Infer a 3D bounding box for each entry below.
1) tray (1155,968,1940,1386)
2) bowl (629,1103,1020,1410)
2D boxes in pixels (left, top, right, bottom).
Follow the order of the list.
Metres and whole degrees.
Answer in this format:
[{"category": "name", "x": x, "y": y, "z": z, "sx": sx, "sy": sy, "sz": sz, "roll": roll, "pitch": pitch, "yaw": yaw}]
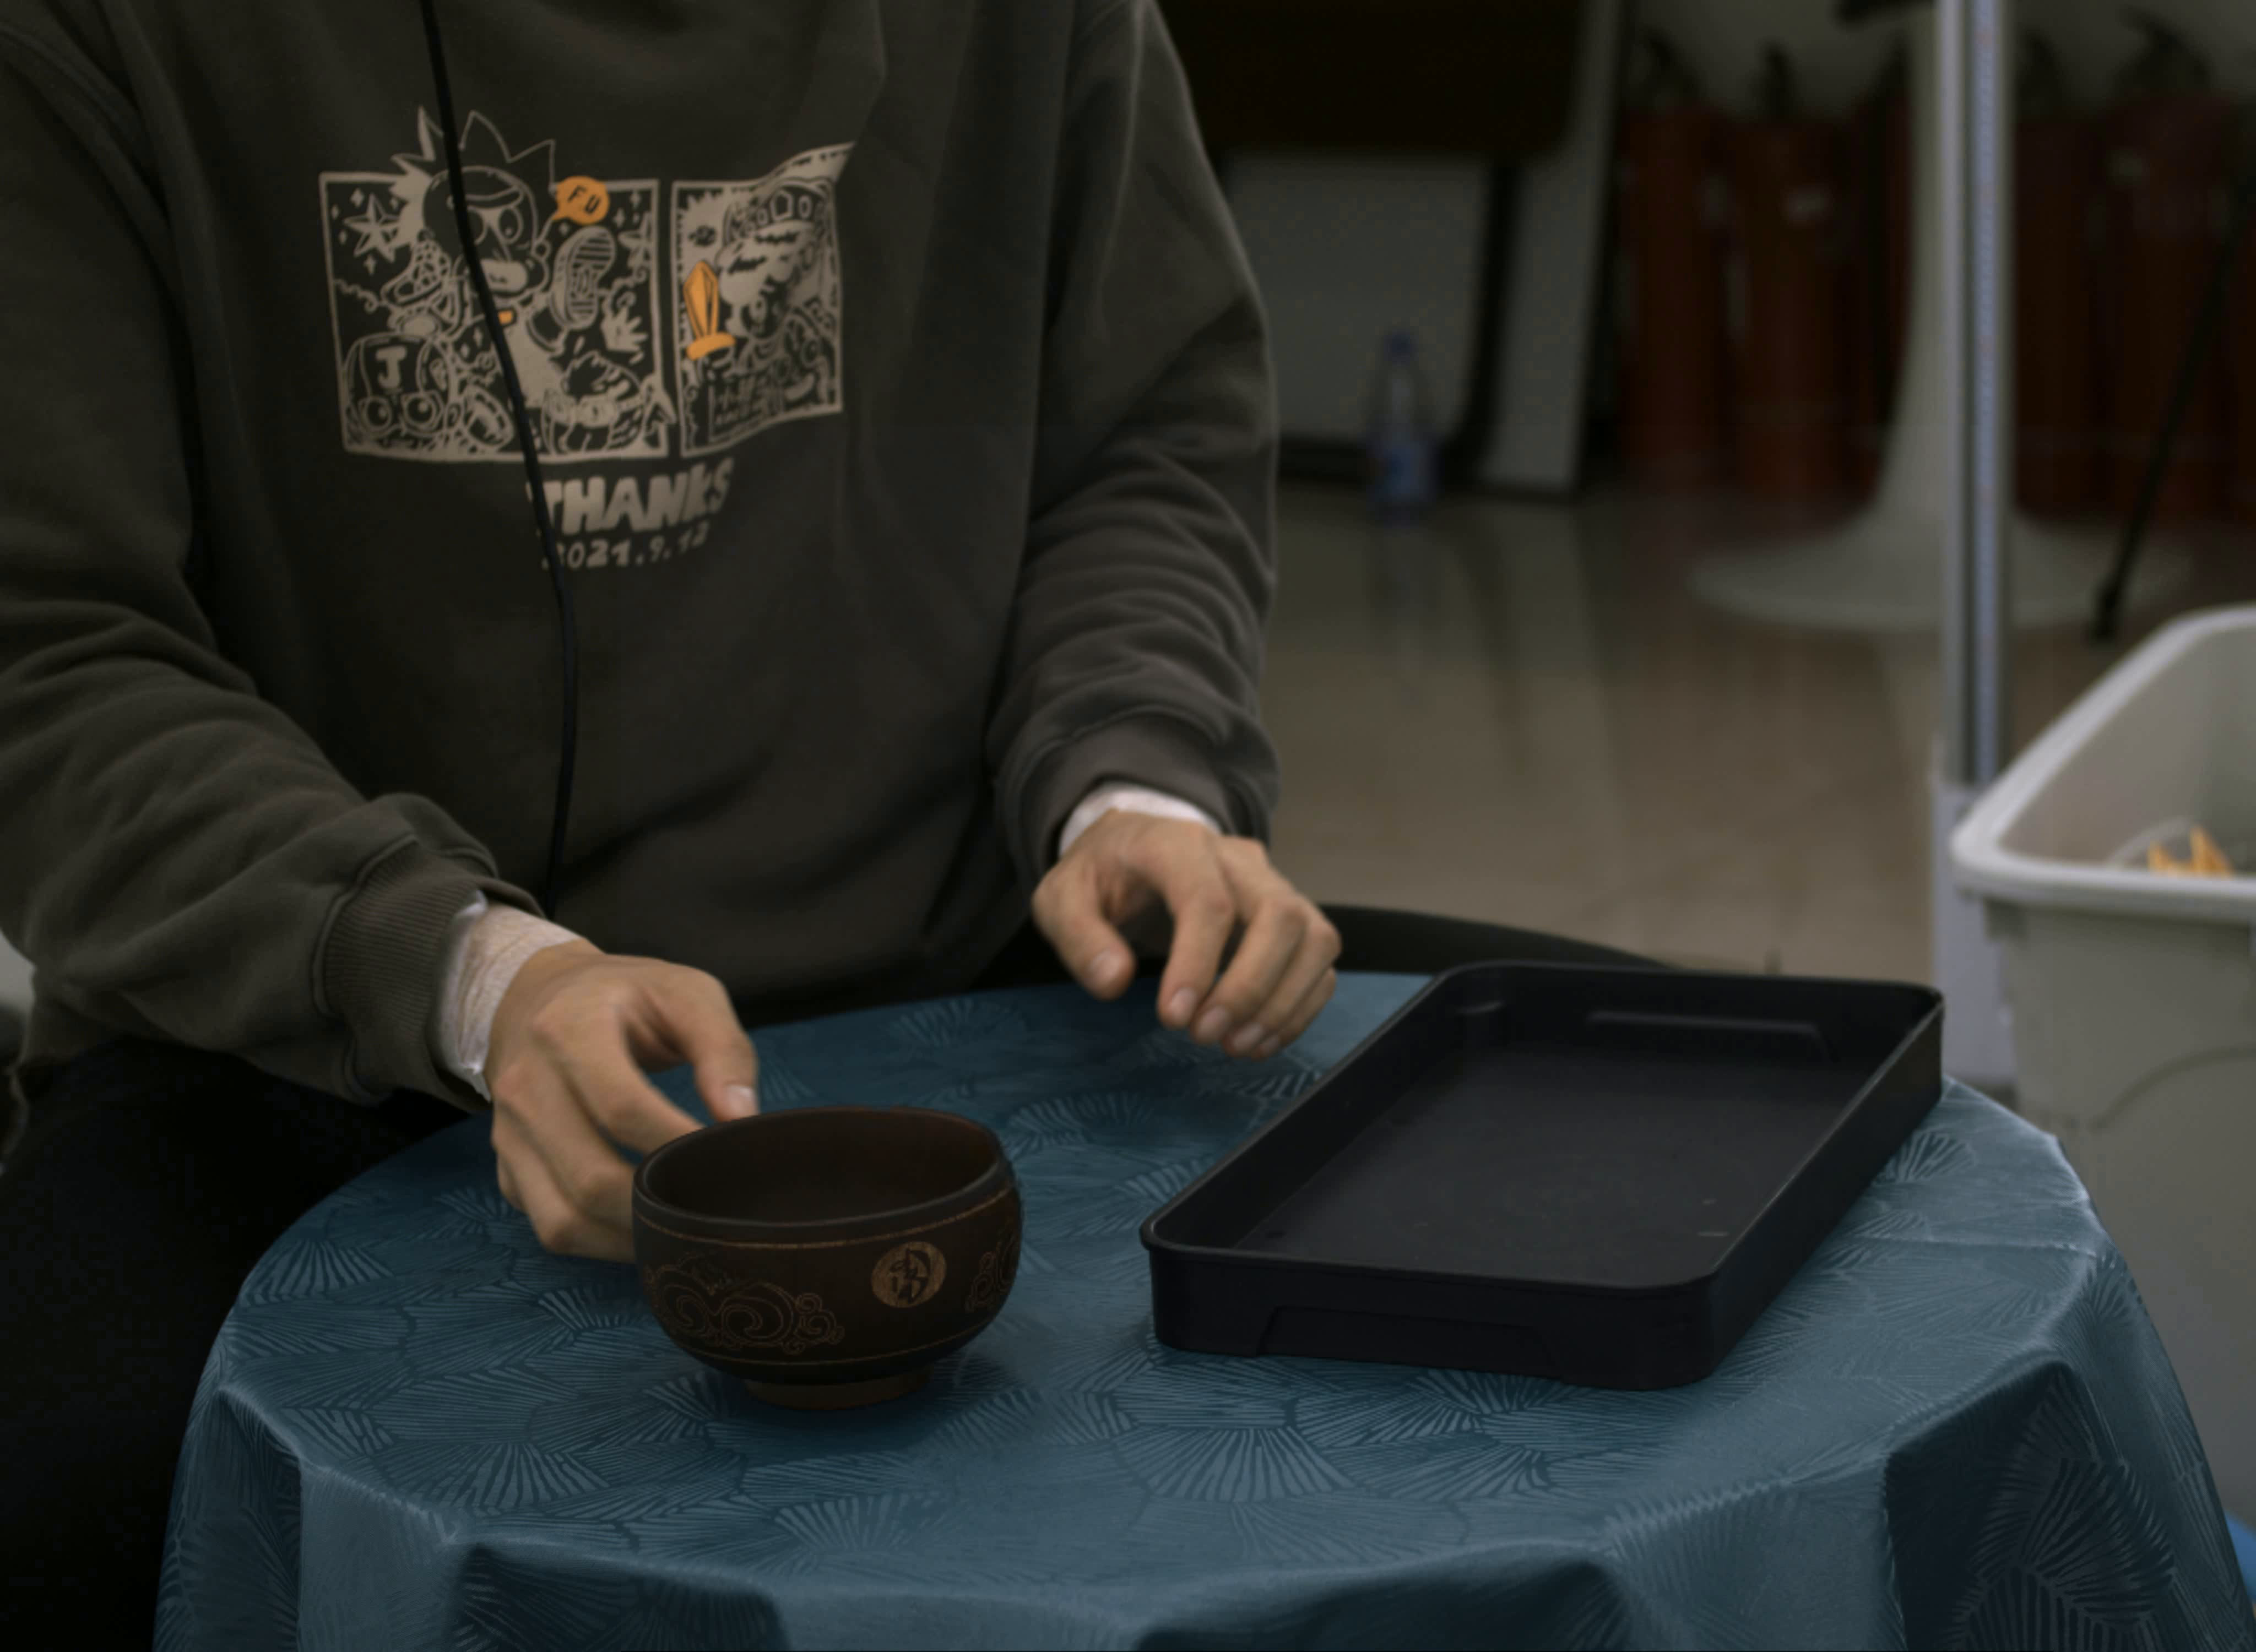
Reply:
[{"category": "tray", "x": 0.142, "y": 0.106, "z": 1.723, "sx": 0.184, "sy": 0.037, "sz": 0.314, "roll": 1, "pitch": 15, "yaw": 22}, {"category": "bowl", "x": -0.088, "y": 0.132, "z": 1.607, "sx": 0.116, "sy": 0.070, "sz": 0.118, "roll": -5, "pitch": 12, "yaw": 0}]
